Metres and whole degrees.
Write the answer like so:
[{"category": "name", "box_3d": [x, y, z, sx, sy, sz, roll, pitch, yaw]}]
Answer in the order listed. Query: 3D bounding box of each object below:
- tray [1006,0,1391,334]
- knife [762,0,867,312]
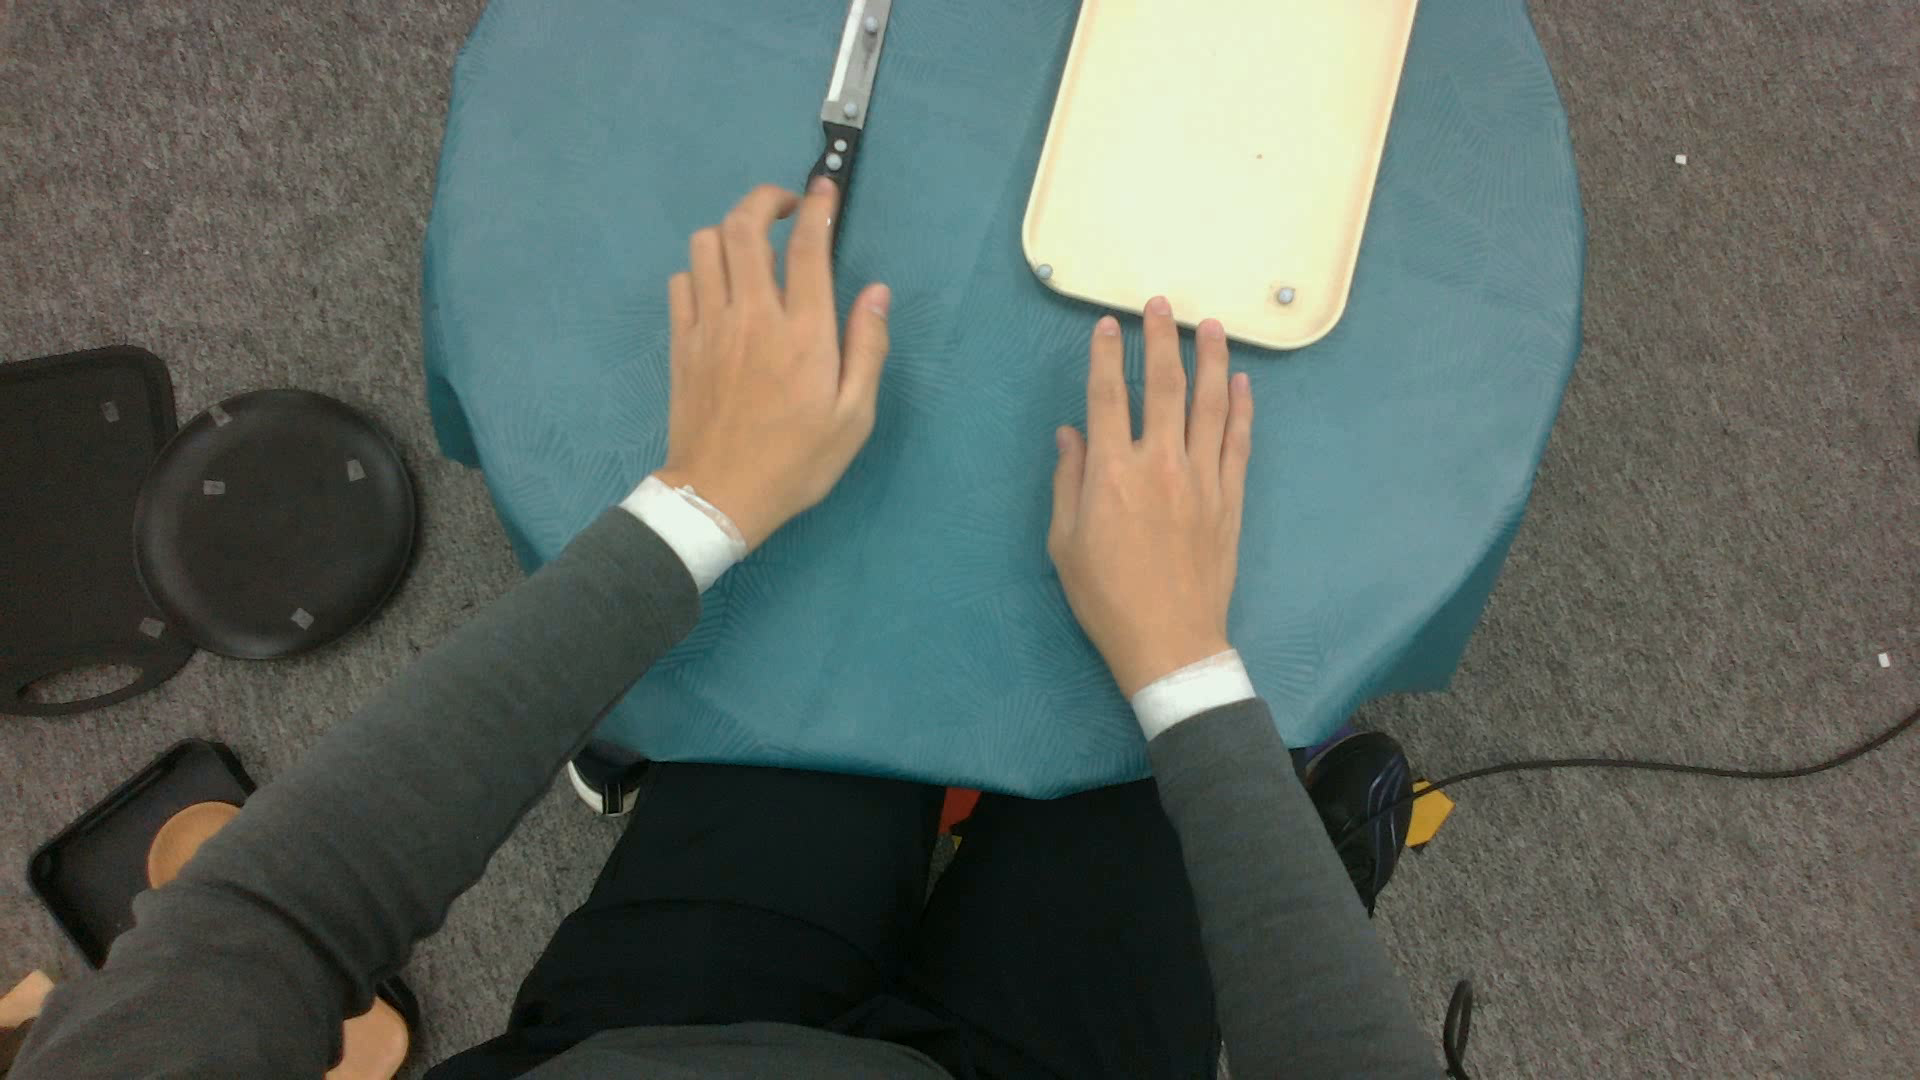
[{"category": "tray", "box_3d": [0.127, -0.232, 0.721, 0.171, 0.017, 0.240, 15, 81, -1]}, {"category": "knife", "box_3d": [-0.069, -0.229, 0.715, 0.024, 0.016, 0.238, 11, 79, -1]}]
